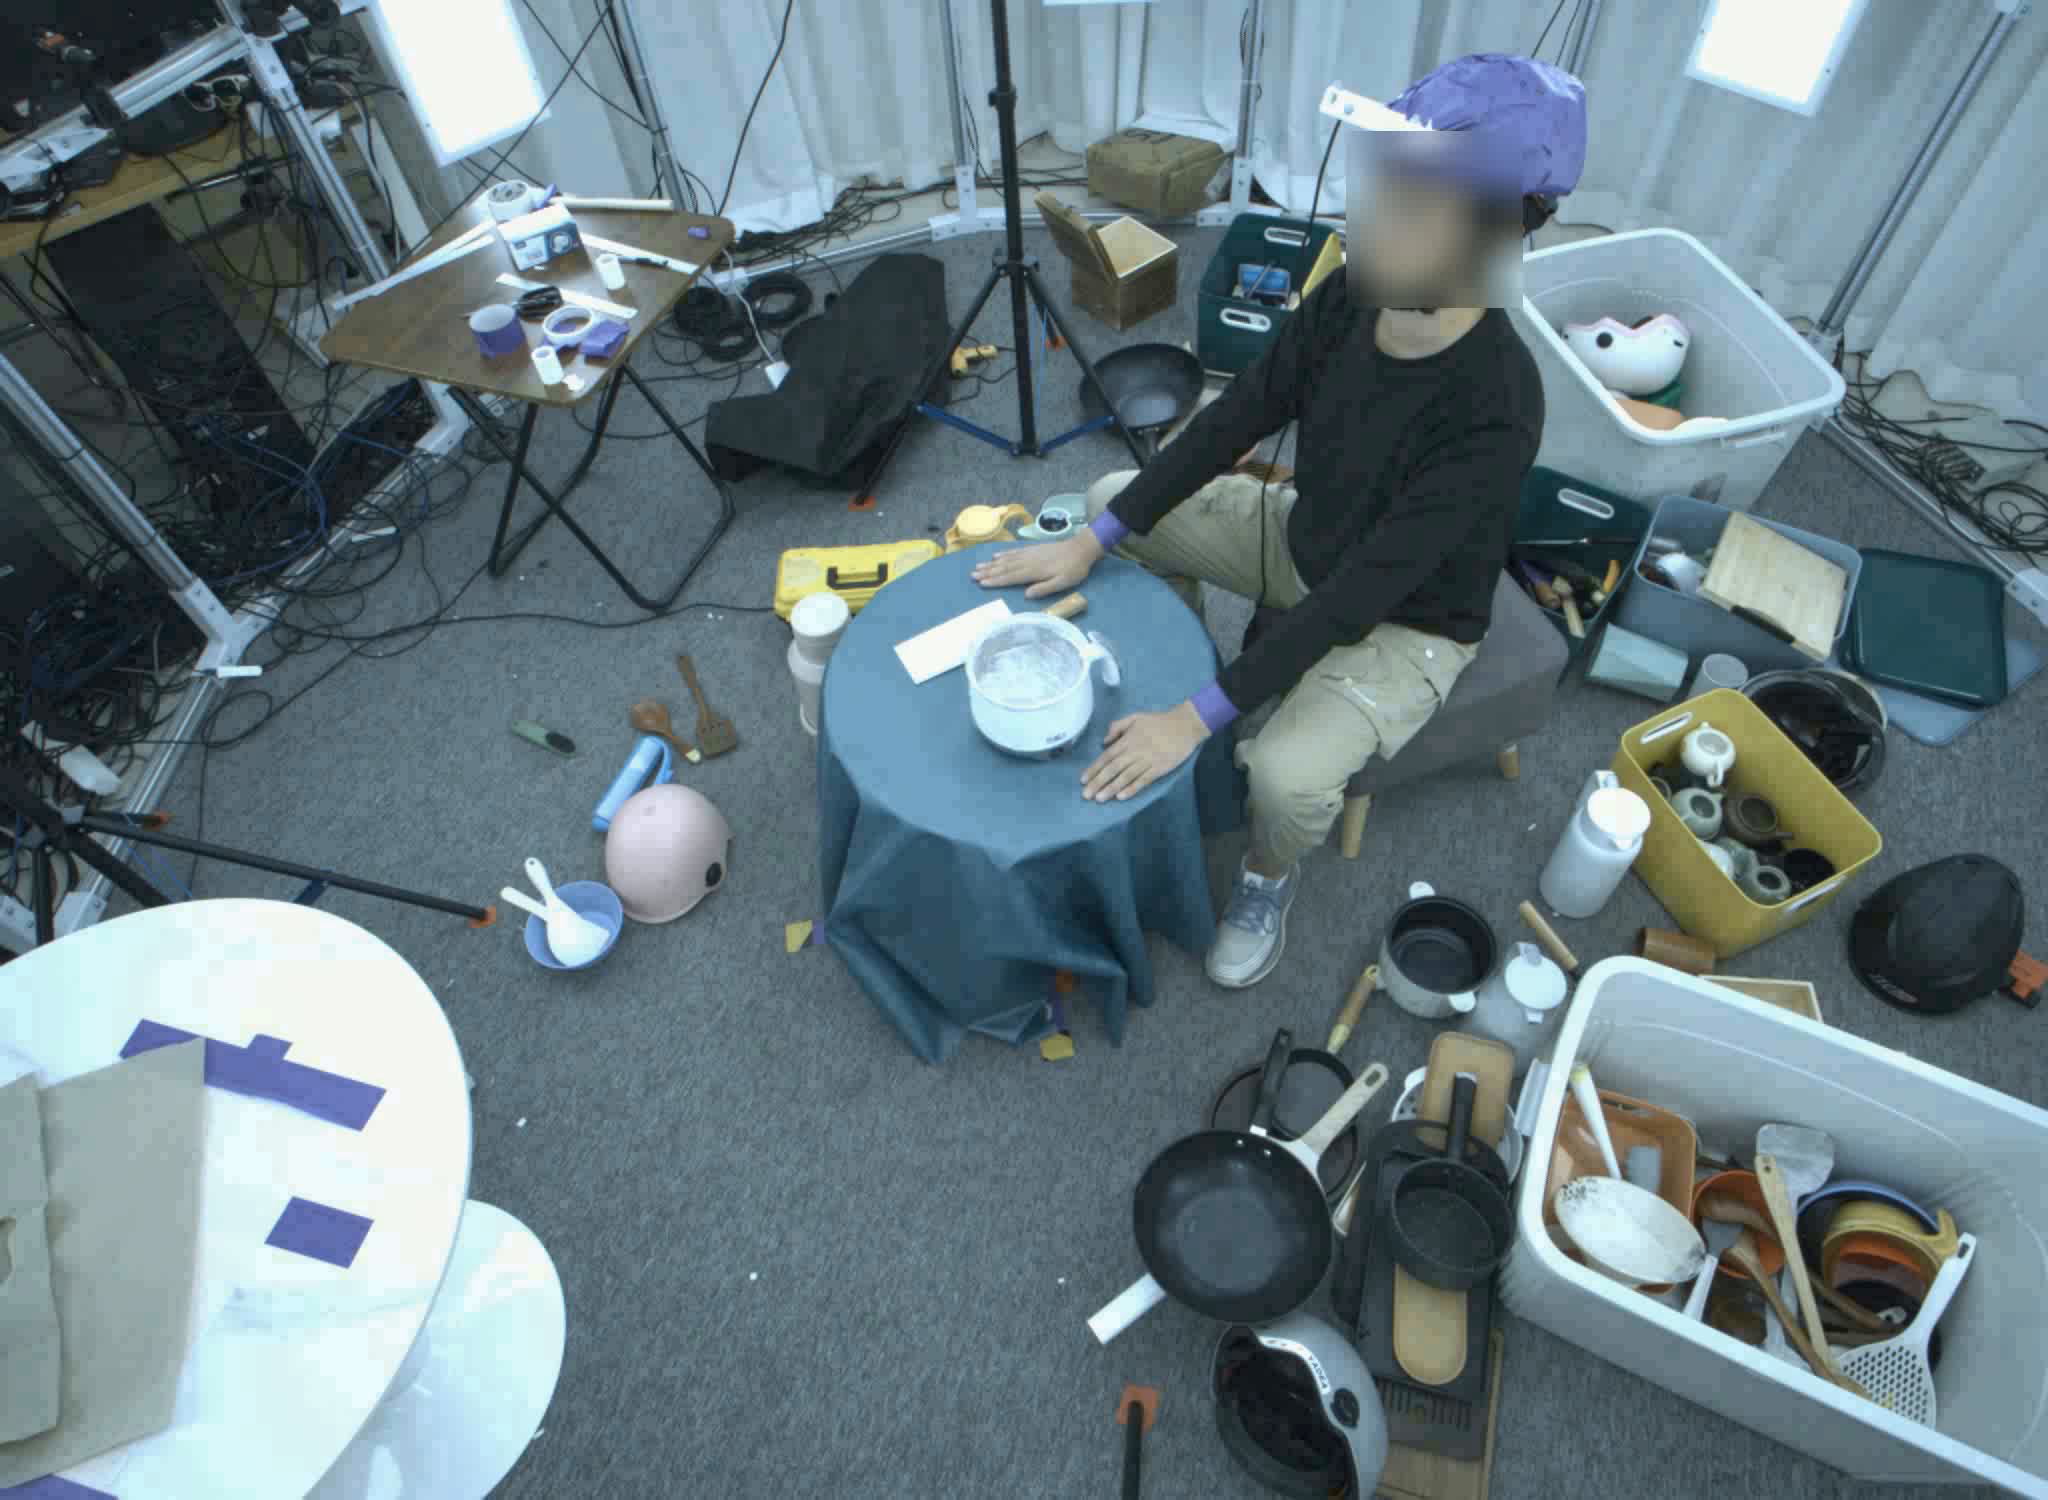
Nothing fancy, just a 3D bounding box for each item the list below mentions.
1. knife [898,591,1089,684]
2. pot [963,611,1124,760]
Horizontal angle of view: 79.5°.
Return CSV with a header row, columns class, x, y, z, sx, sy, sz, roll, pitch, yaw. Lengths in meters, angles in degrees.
class,x,y,z,sx,sy,sz,roll,pitch,yaw
knife,-0.050,-0.192,1.914,0.308,0.021,0.091,-25,58,-14
pot,0.033,-0.101,1.768,0.235,0.138,0.175,-23,57,-12
